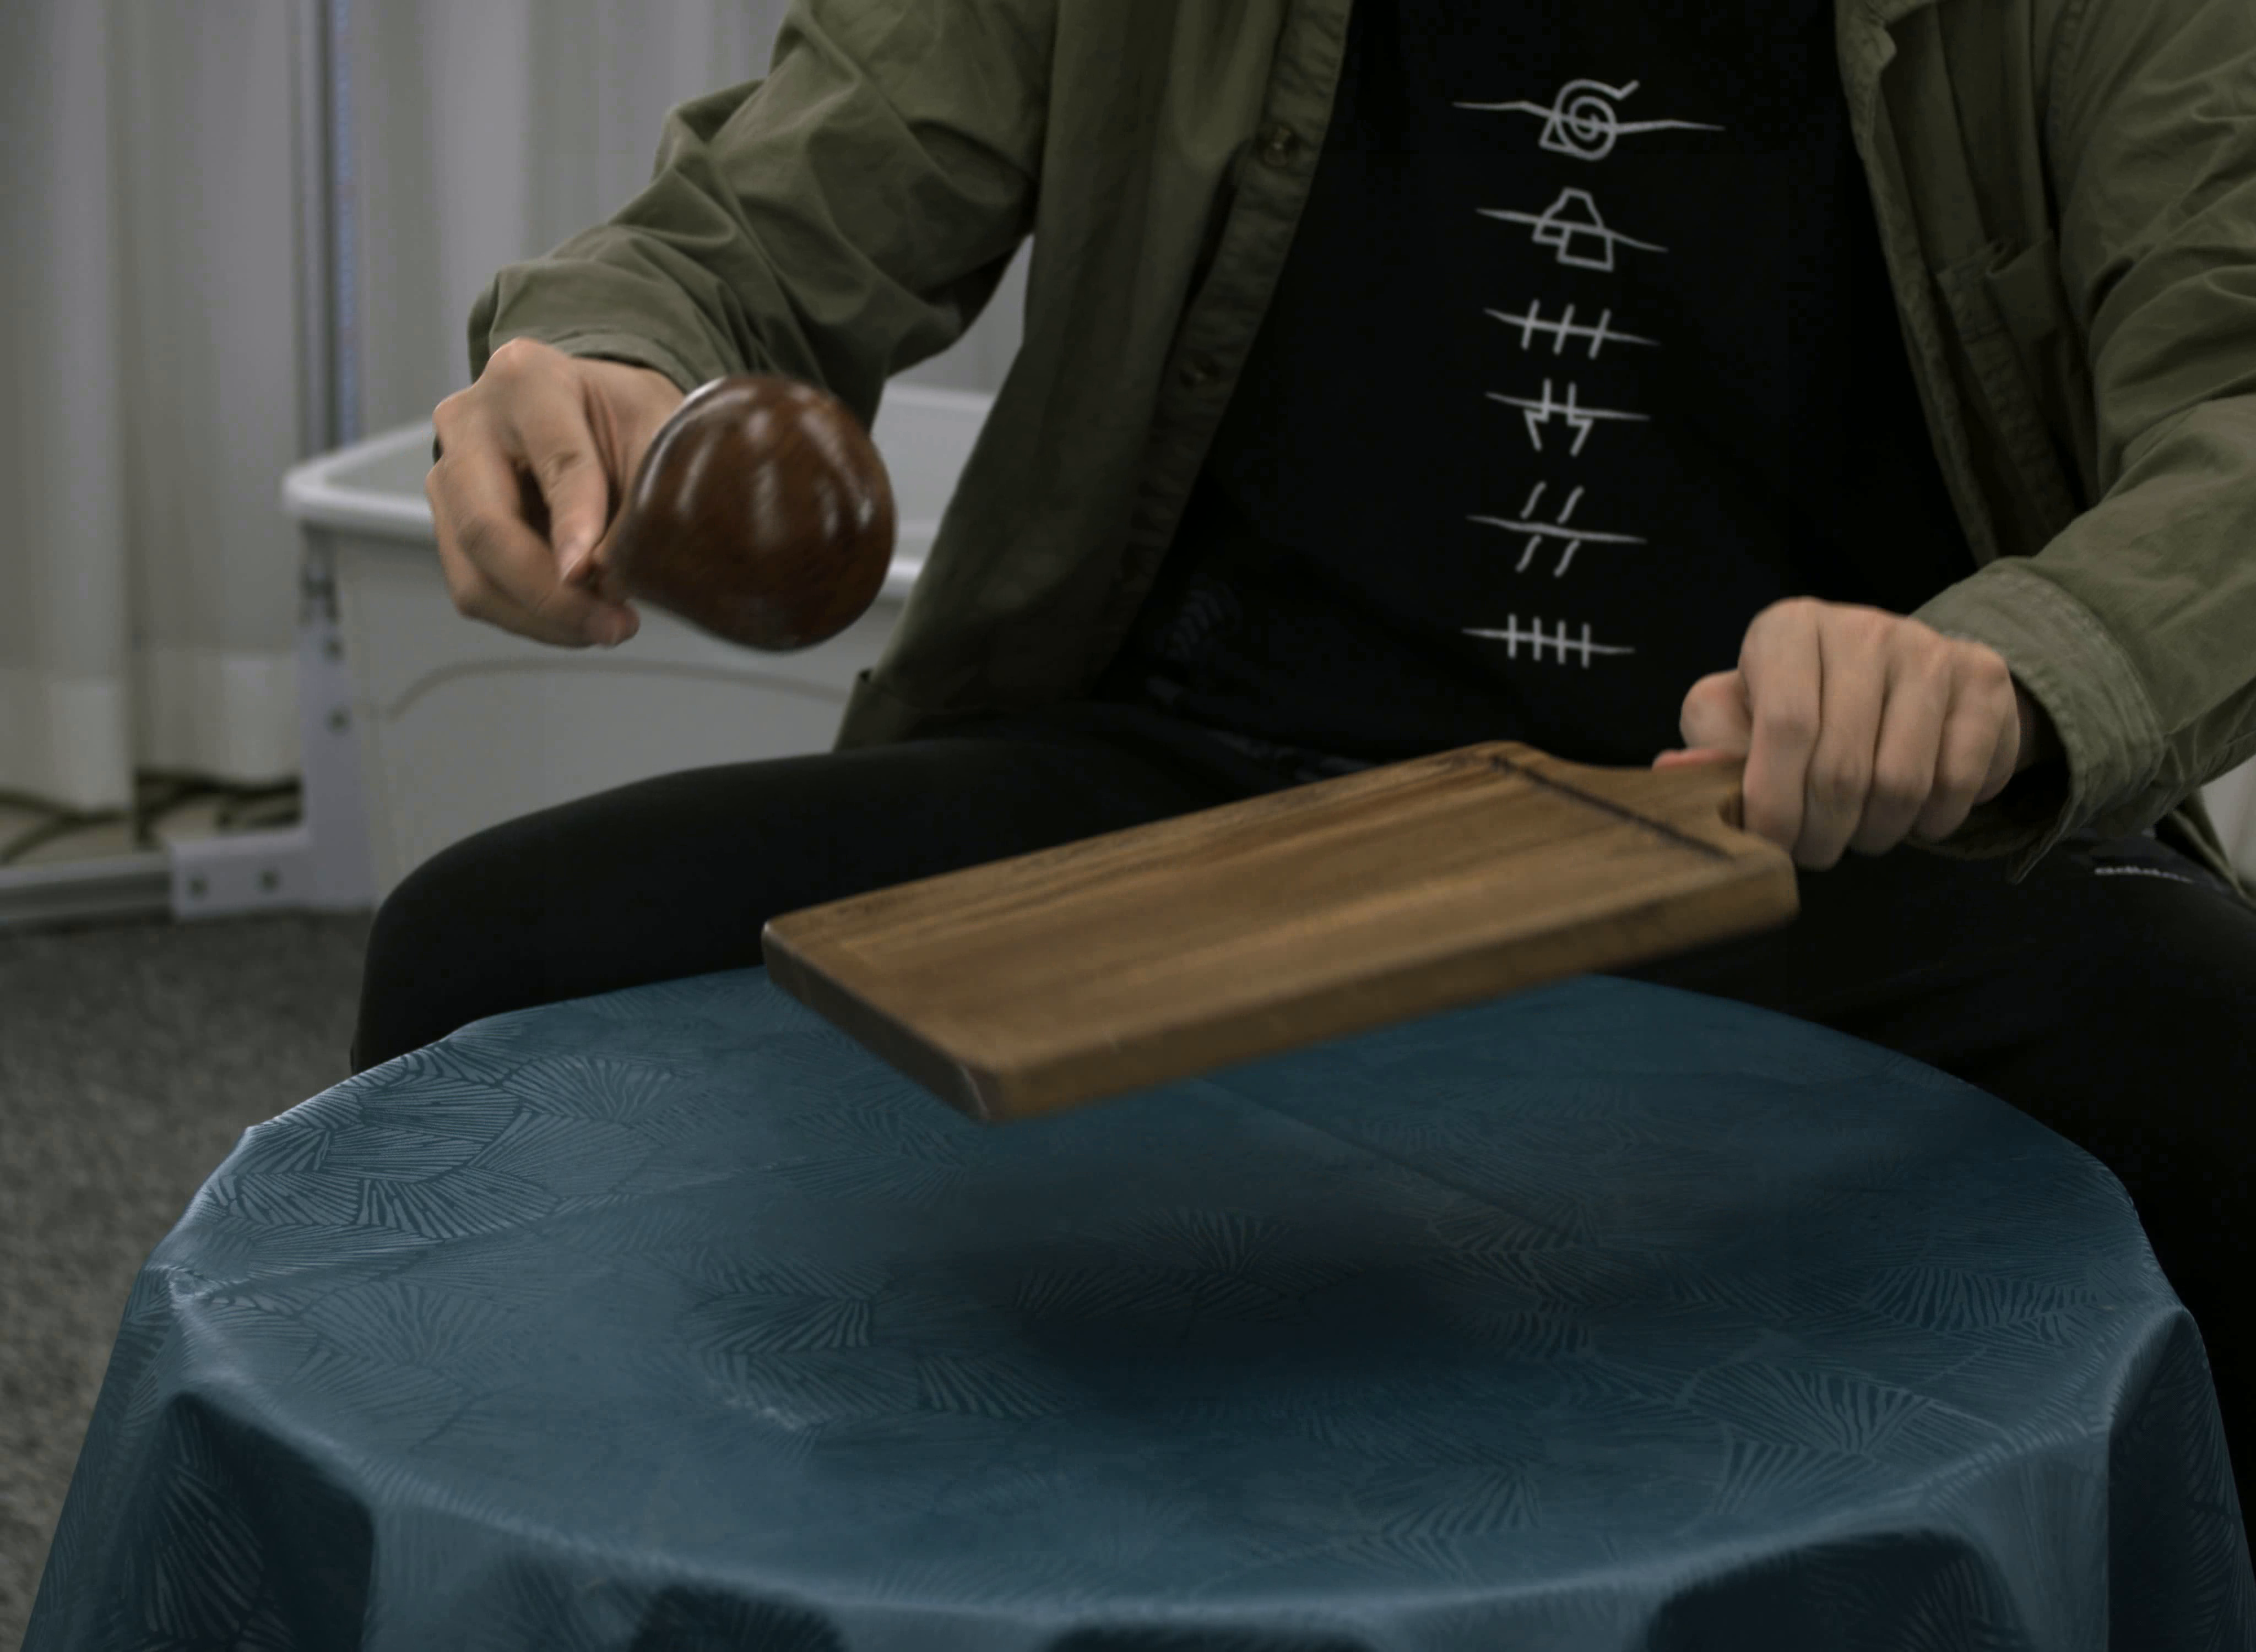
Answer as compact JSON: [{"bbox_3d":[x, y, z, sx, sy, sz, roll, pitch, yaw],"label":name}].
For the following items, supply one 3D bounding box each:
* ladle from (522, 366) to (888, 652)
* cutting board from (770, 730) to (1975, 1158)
[{"bbox_3d":[-0.132,-0.086,1.604,0.076,0.082,0.273,-13,1,-13],"label":"ladle"},{"bbox_3d":[0.089,0.021,1.516,0.353,0.023,0.199,-14,16,-19],"label":"cutting board"}]
